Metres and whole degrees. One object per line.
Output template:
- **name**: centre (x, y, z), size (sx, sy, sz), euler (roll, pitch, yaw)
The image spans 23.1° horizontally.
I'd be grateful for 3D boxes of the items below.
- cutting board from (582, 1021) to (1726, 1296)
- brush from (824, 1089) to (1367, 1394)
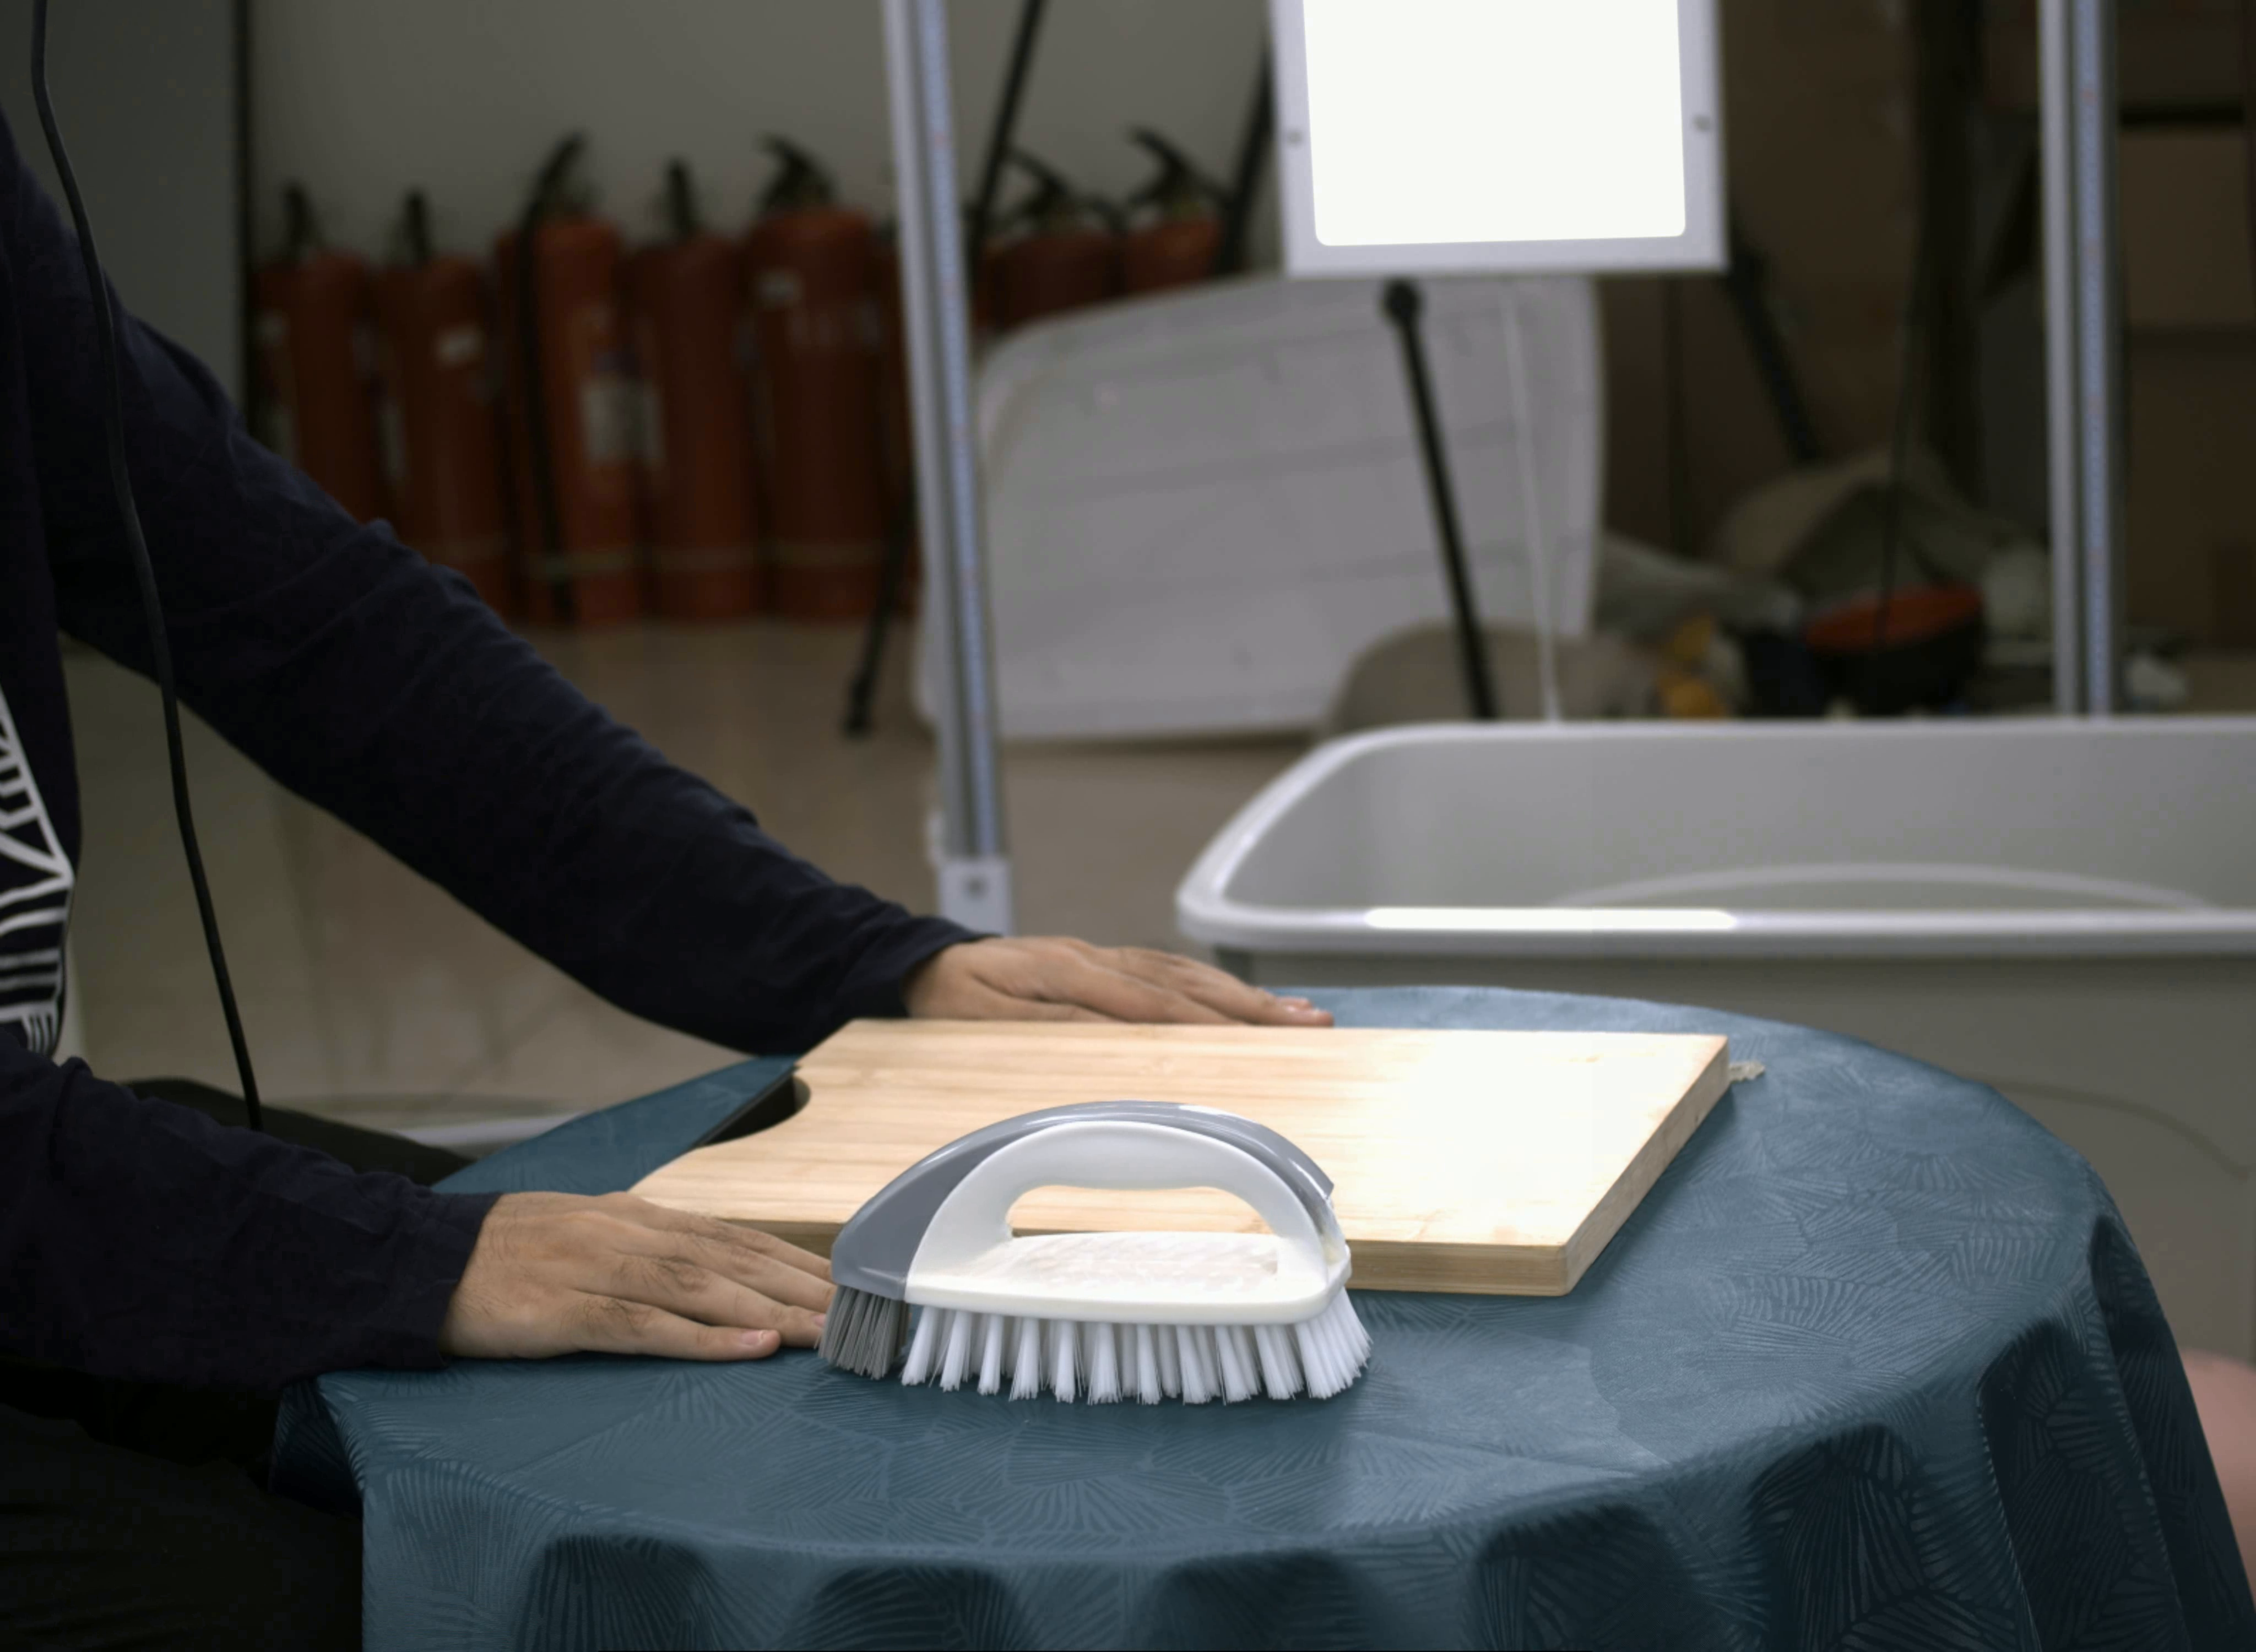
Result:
- **cutting board**: centre (0.014, 0.112, 1.920), size (0.353, 0.023, 0.246), euler (0, 14, 21)
- **brush**: centre (-0.016, 0.128, 1.704), size (0.178, 0.094, 0.060), euler (-2, 14, 21)
